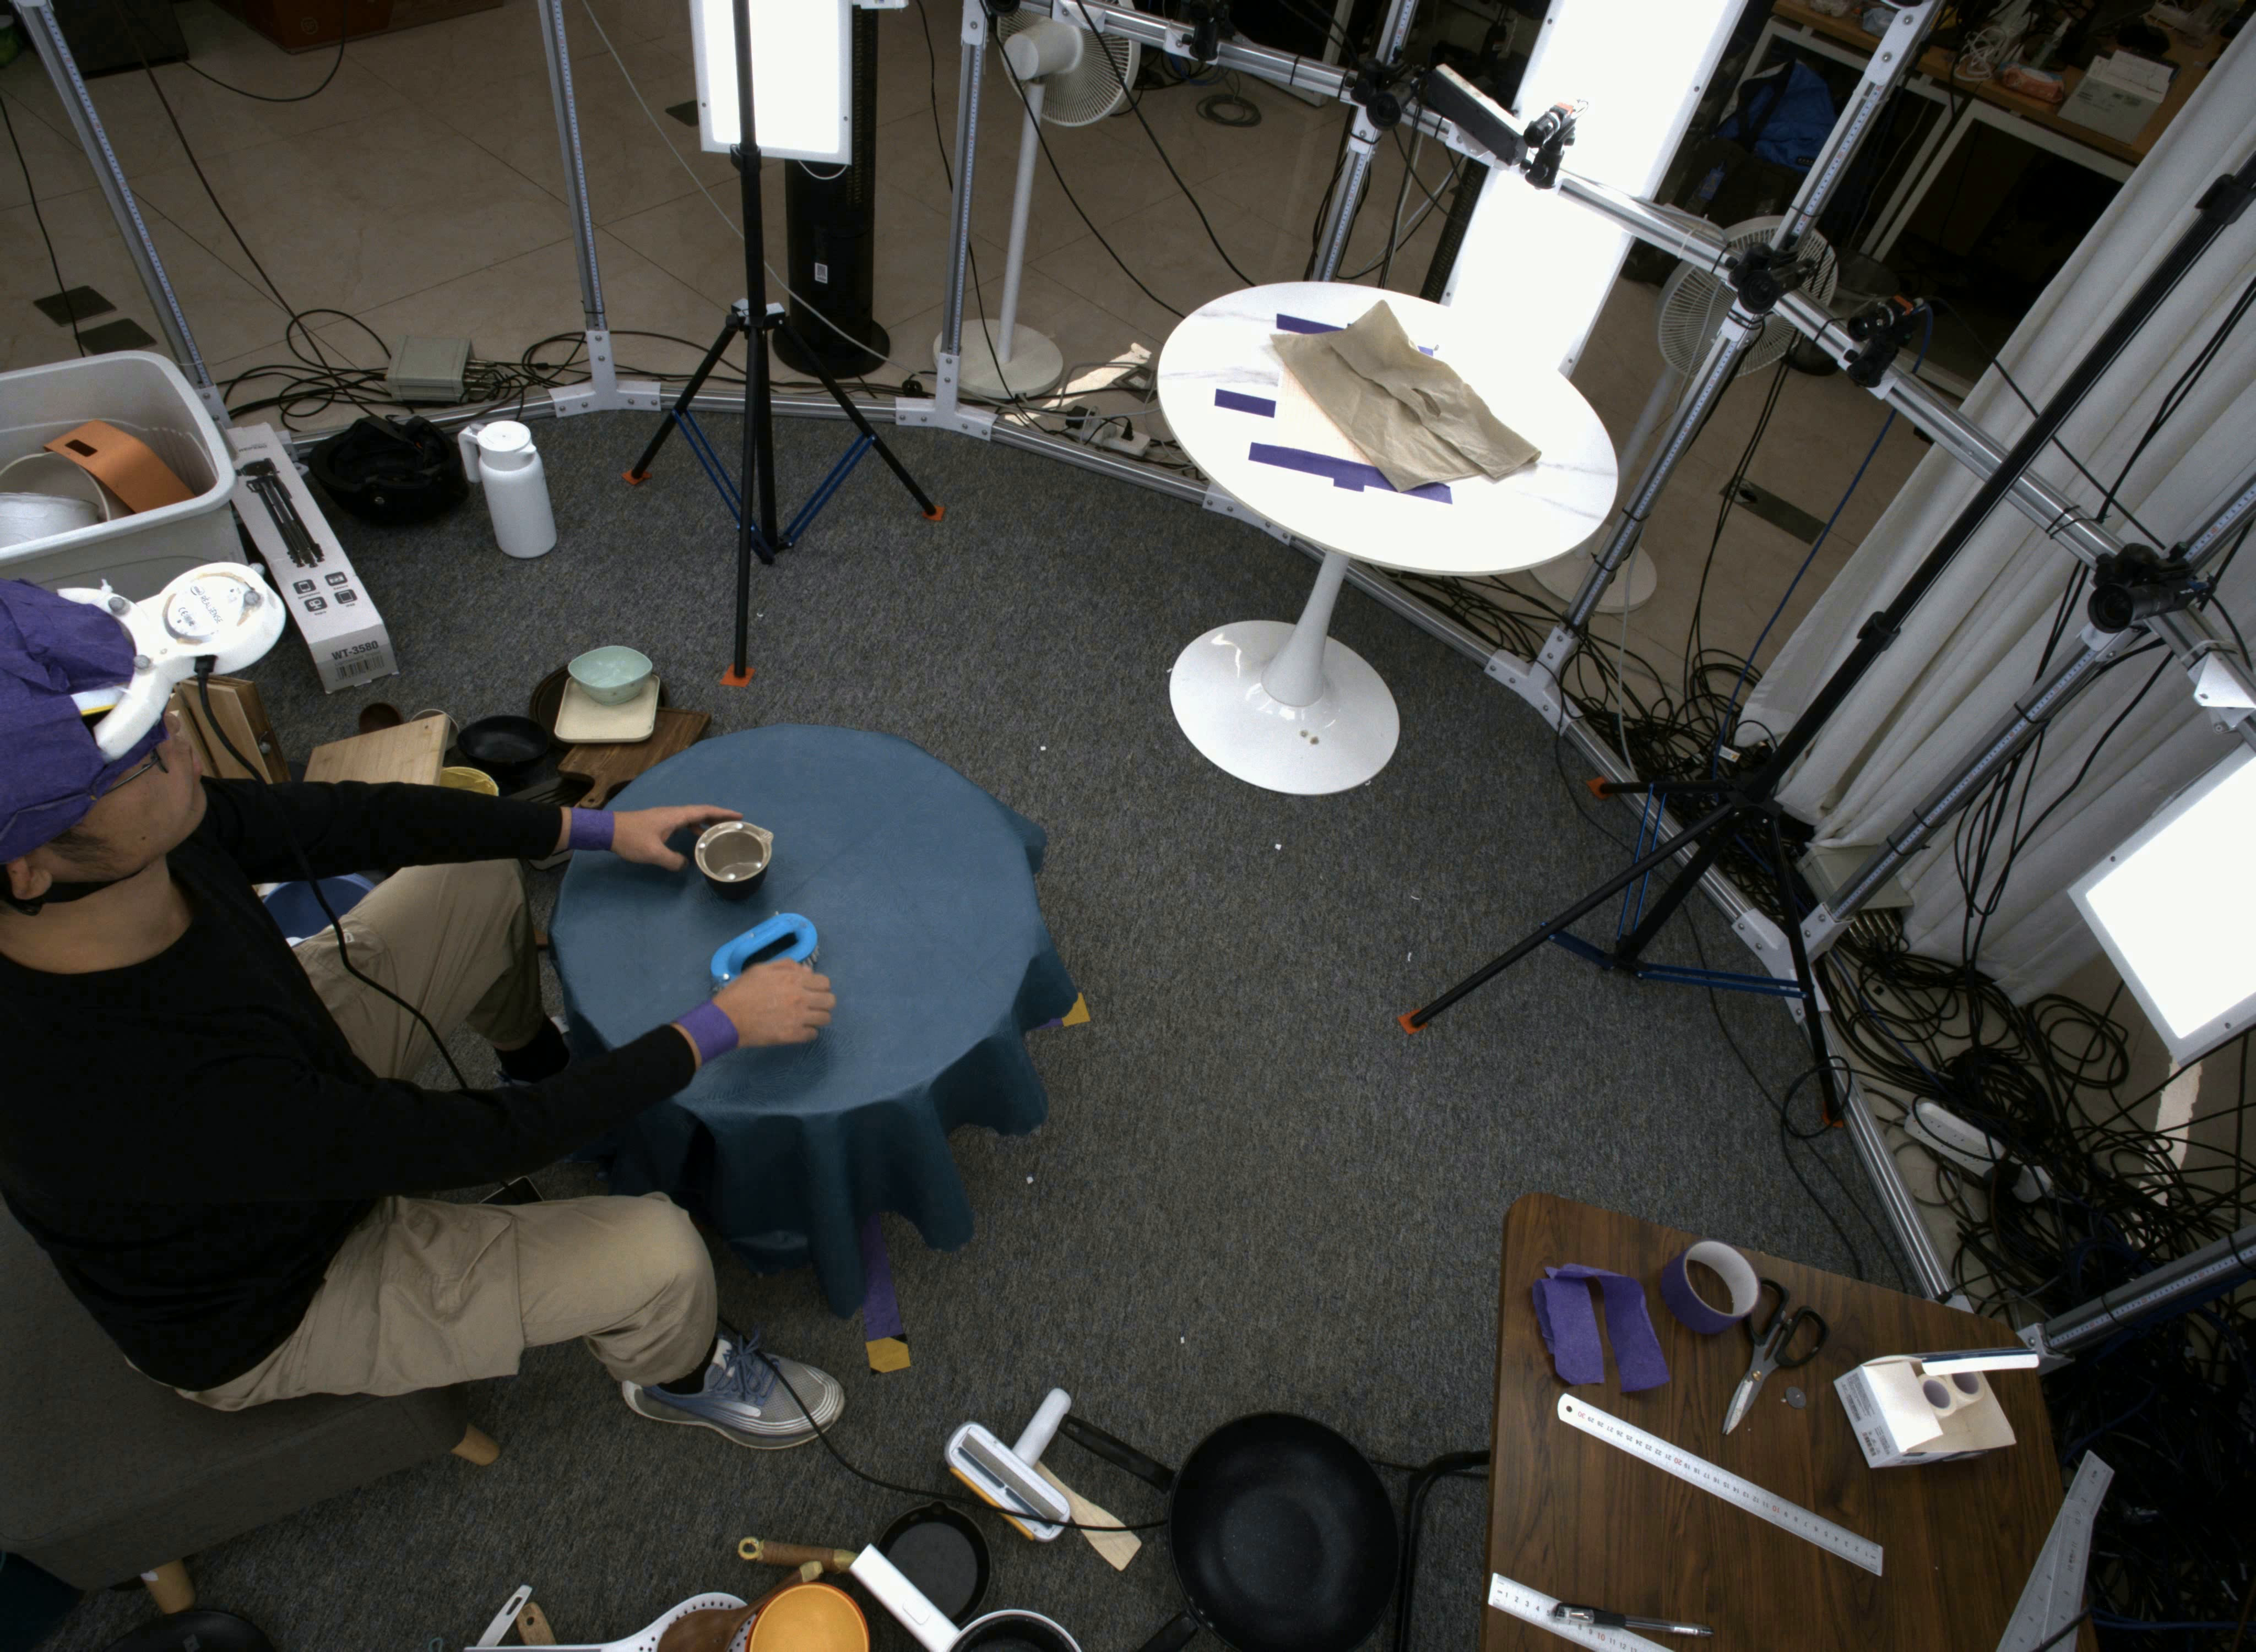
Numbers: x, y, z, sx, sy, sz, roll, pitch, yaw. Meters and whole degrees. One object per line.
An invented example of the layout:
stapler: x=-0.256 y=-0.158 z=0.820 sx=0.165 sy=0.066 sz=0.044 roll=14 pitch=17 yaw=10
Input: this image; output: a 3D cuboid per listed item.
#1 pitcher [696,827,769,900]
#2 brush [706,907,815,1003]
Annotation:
pitcher: x=-0.495 y=0.047 z=1.626 sx=0.096 sy=0.073 sz=0.081 roll=-23 pitch=60 yaw=-29
brush: x=-0.443 y=0.148 z=1.570 sx=0.142 sy=0.065 sz=0.083 roll=-32 pitch=70 yaw=-30
